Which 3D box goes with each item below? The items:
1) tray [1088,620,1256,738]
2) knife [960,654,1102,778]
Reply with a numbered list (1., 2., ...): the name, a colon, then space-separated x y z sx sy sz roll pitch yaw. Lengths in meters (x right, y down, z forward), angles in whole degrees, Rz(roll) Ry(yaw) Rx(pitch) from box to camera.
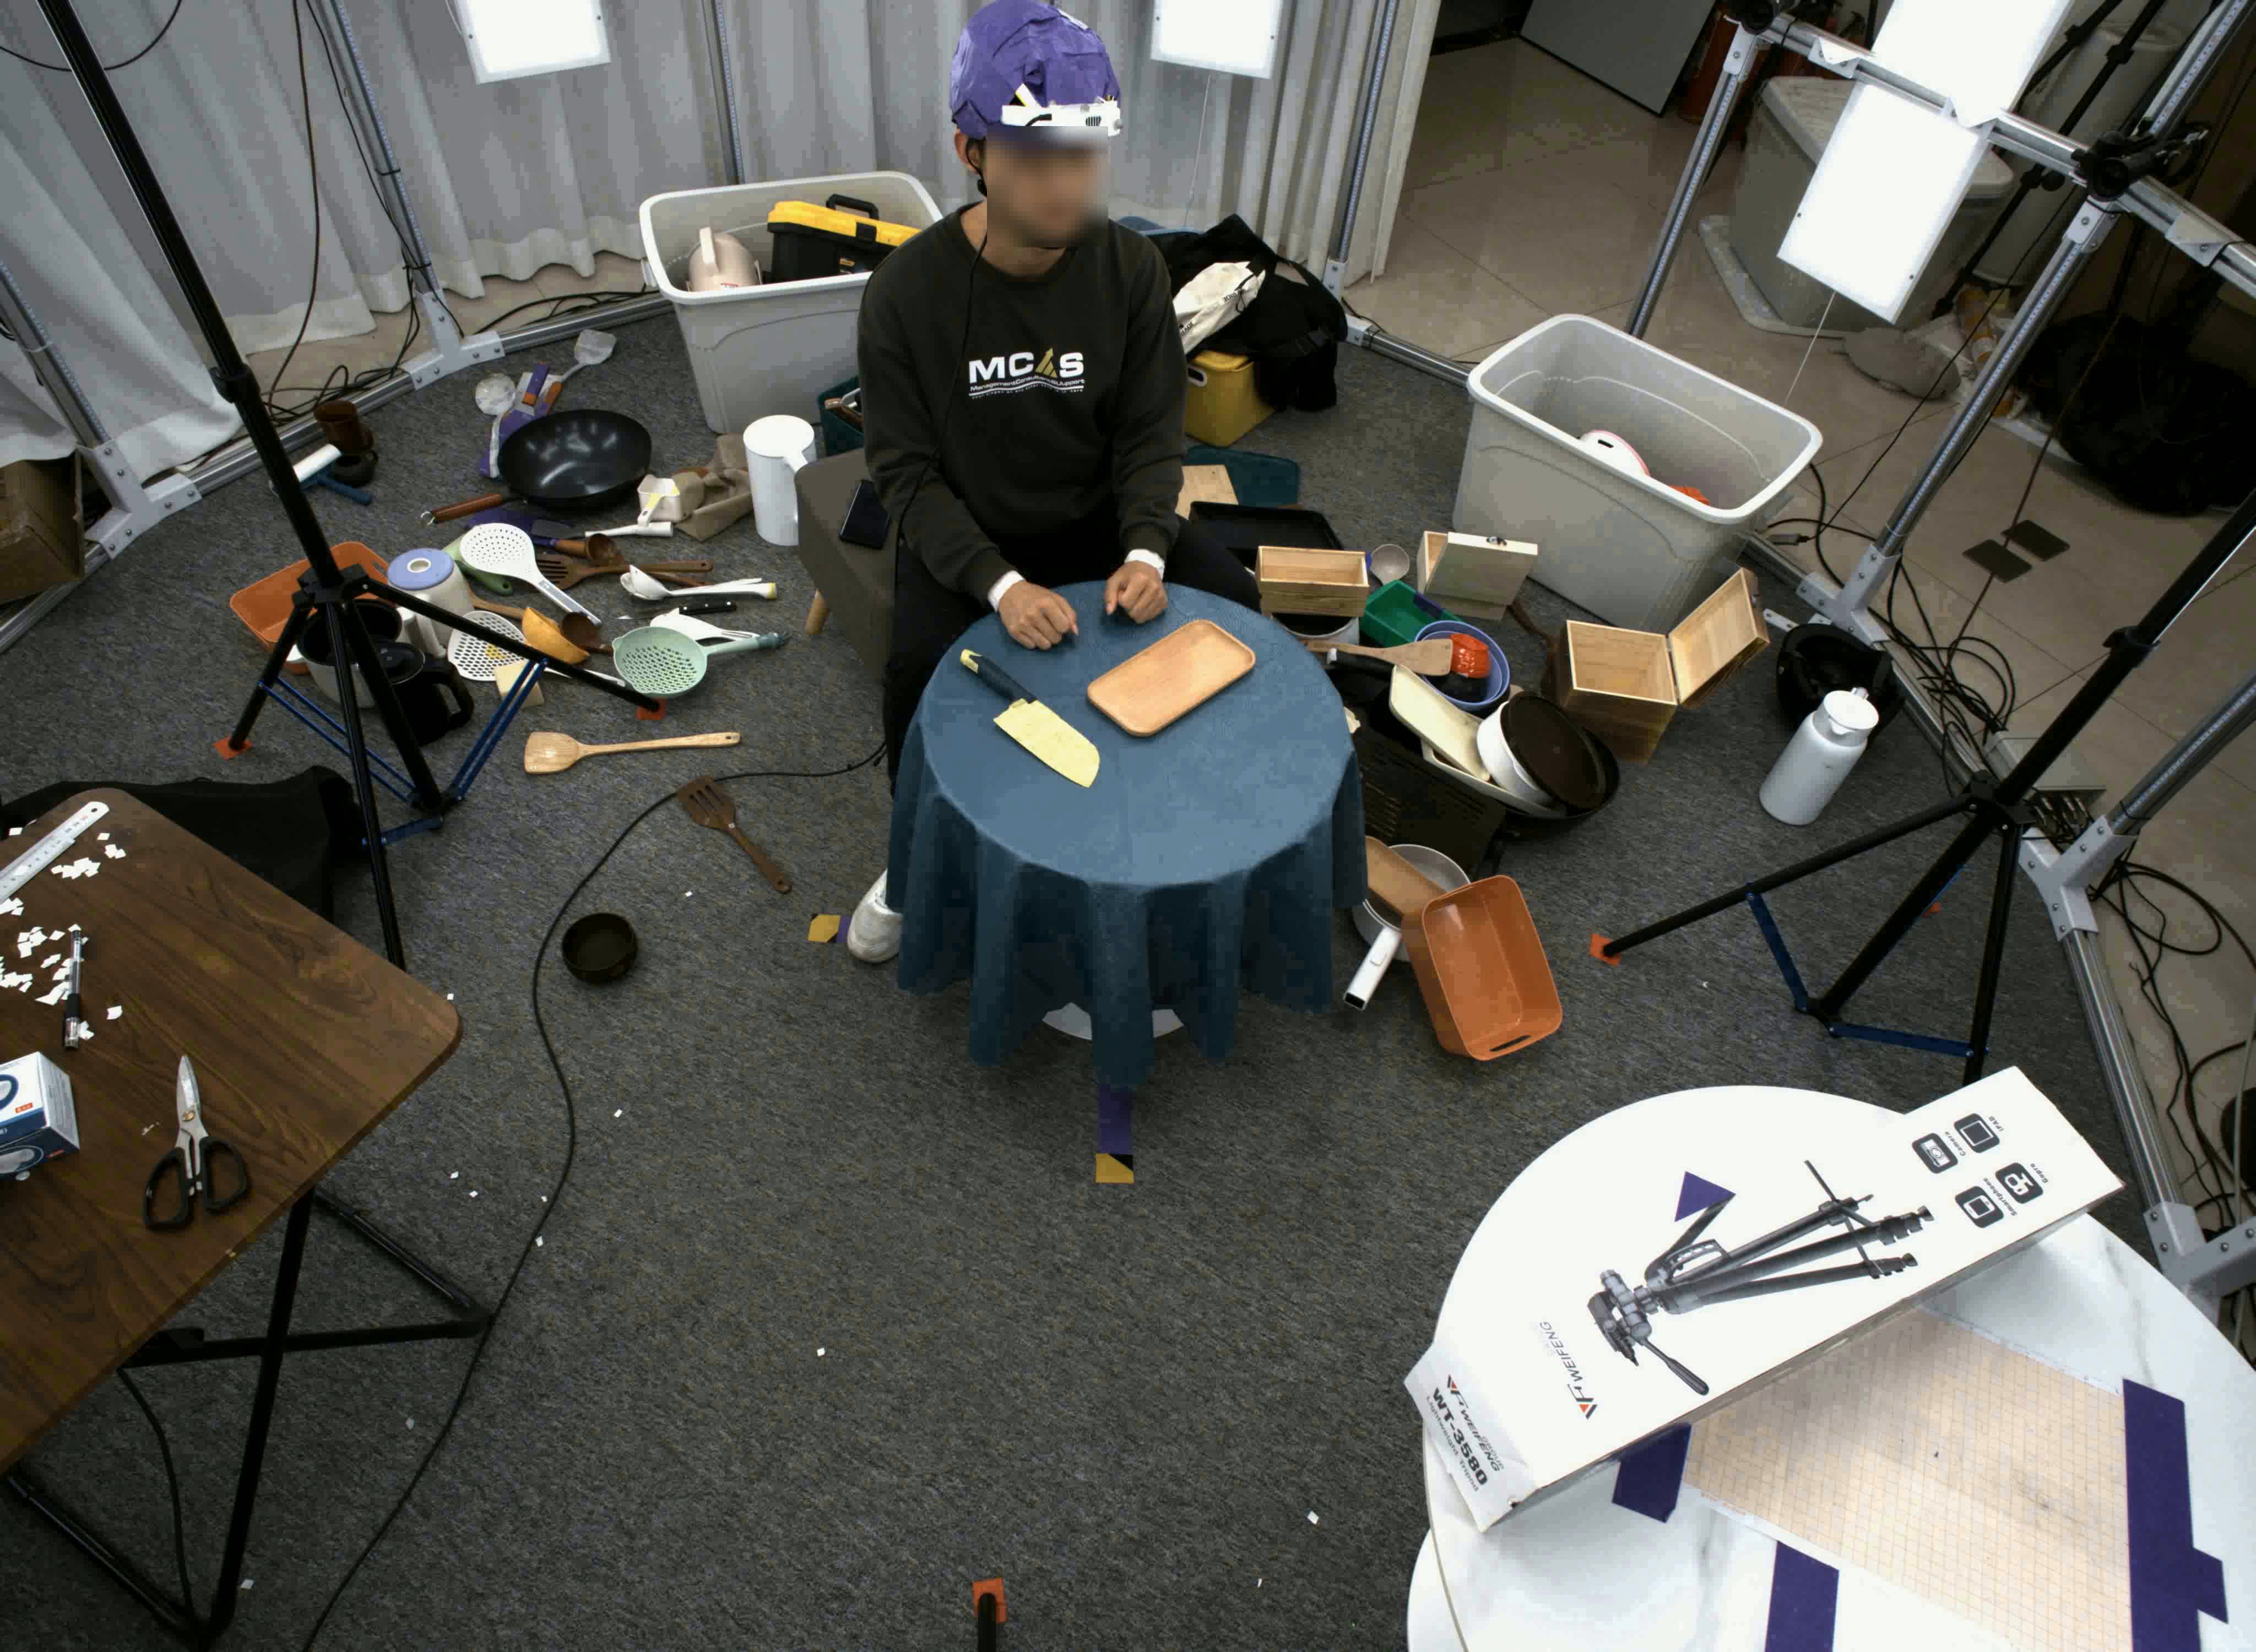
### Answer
1. tray: 0.065 -0.214 1.847 0.253 0.022 0.132 -35 57 -28
2. knife: -0.143 -0.151 1.779 0.082 0.026 0.294 -33 60 -30
